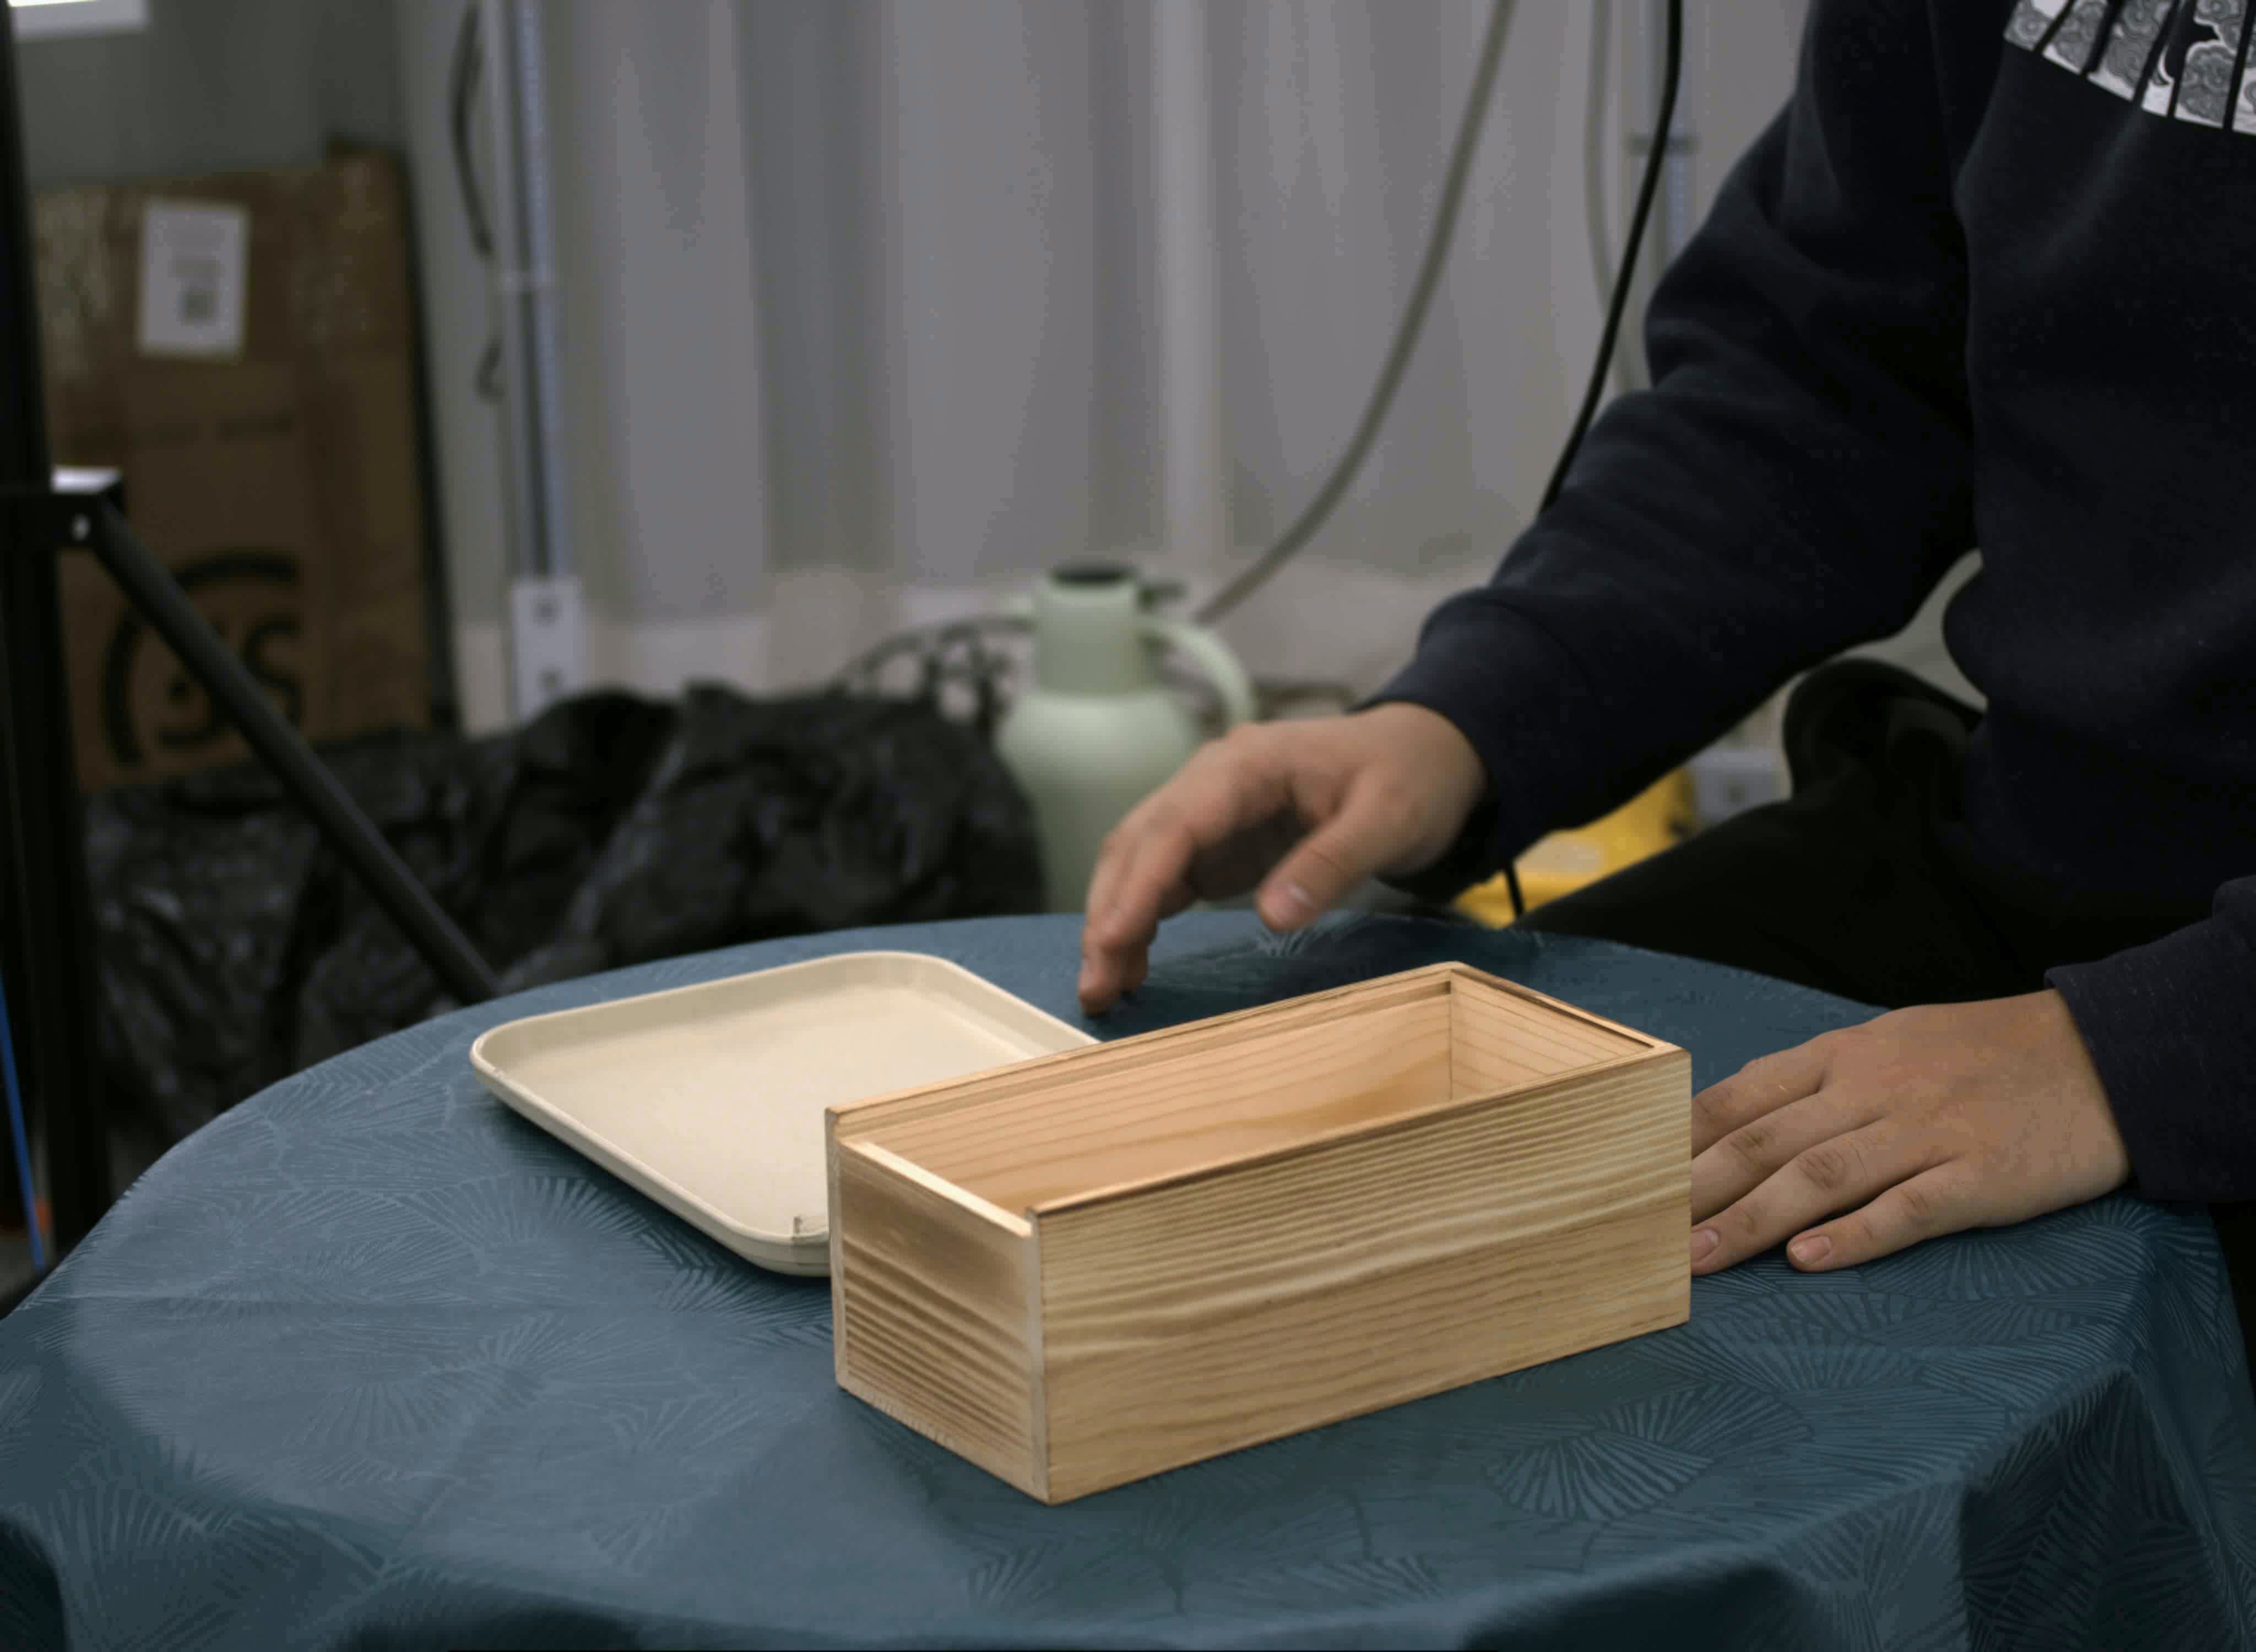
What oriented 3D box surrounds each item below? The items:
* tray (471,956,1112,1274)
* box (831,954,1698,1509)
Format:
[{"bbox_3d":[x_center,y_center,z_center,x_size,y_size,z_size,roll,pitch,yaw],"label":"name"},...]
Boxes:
[{"bbox_3d":[-0.083,0.086,1.614,0.167,0.017,0.245,-10,18,-28],"label":"tray"},{"bbox_3d":[0.038,0.104,1.418,0.206,0.080,0.110,-12,19,-31],"label":"box"}]
